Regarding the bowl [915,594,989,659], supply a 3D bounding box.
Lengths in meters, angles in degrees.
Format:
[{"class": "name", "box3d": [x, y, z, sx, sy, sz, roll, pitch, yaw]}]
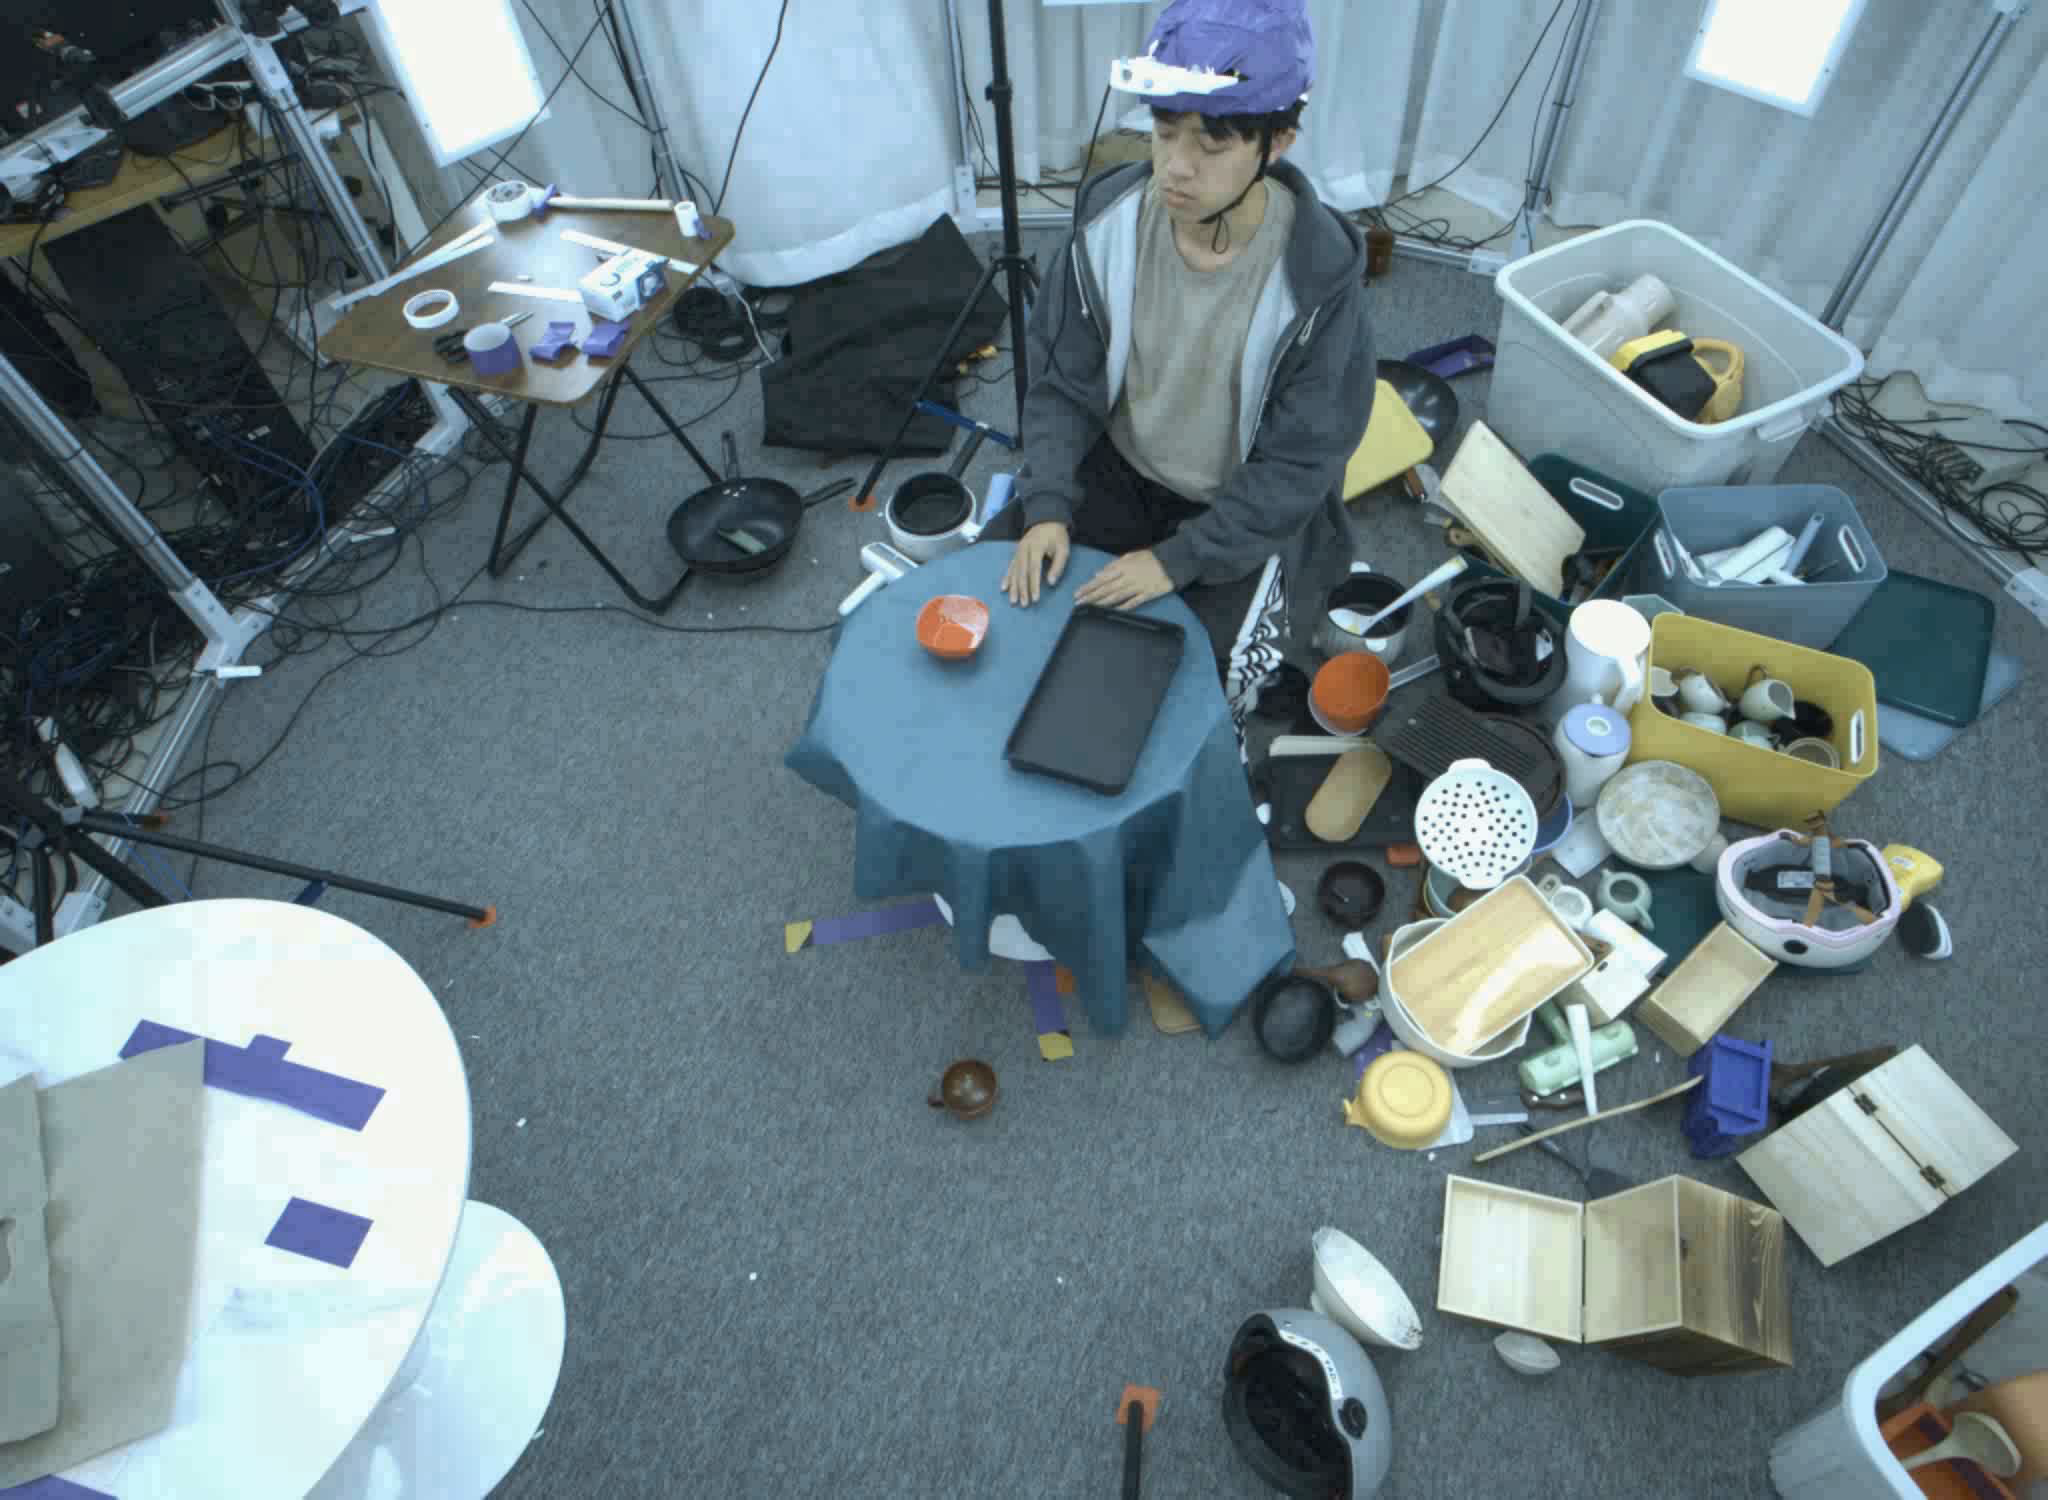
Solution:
[{"class": "bowl", "box3d": [-0.108, -0.183, 1.890, 0.119, 0.052, 0.118, -1, 56, 3]}]

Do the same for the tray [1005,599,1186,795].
[{"class": "tray", "box3d": [0.110, -0.085, 1.822, 0.182, 0.037, 0.317, 17, 58, 13]}]
